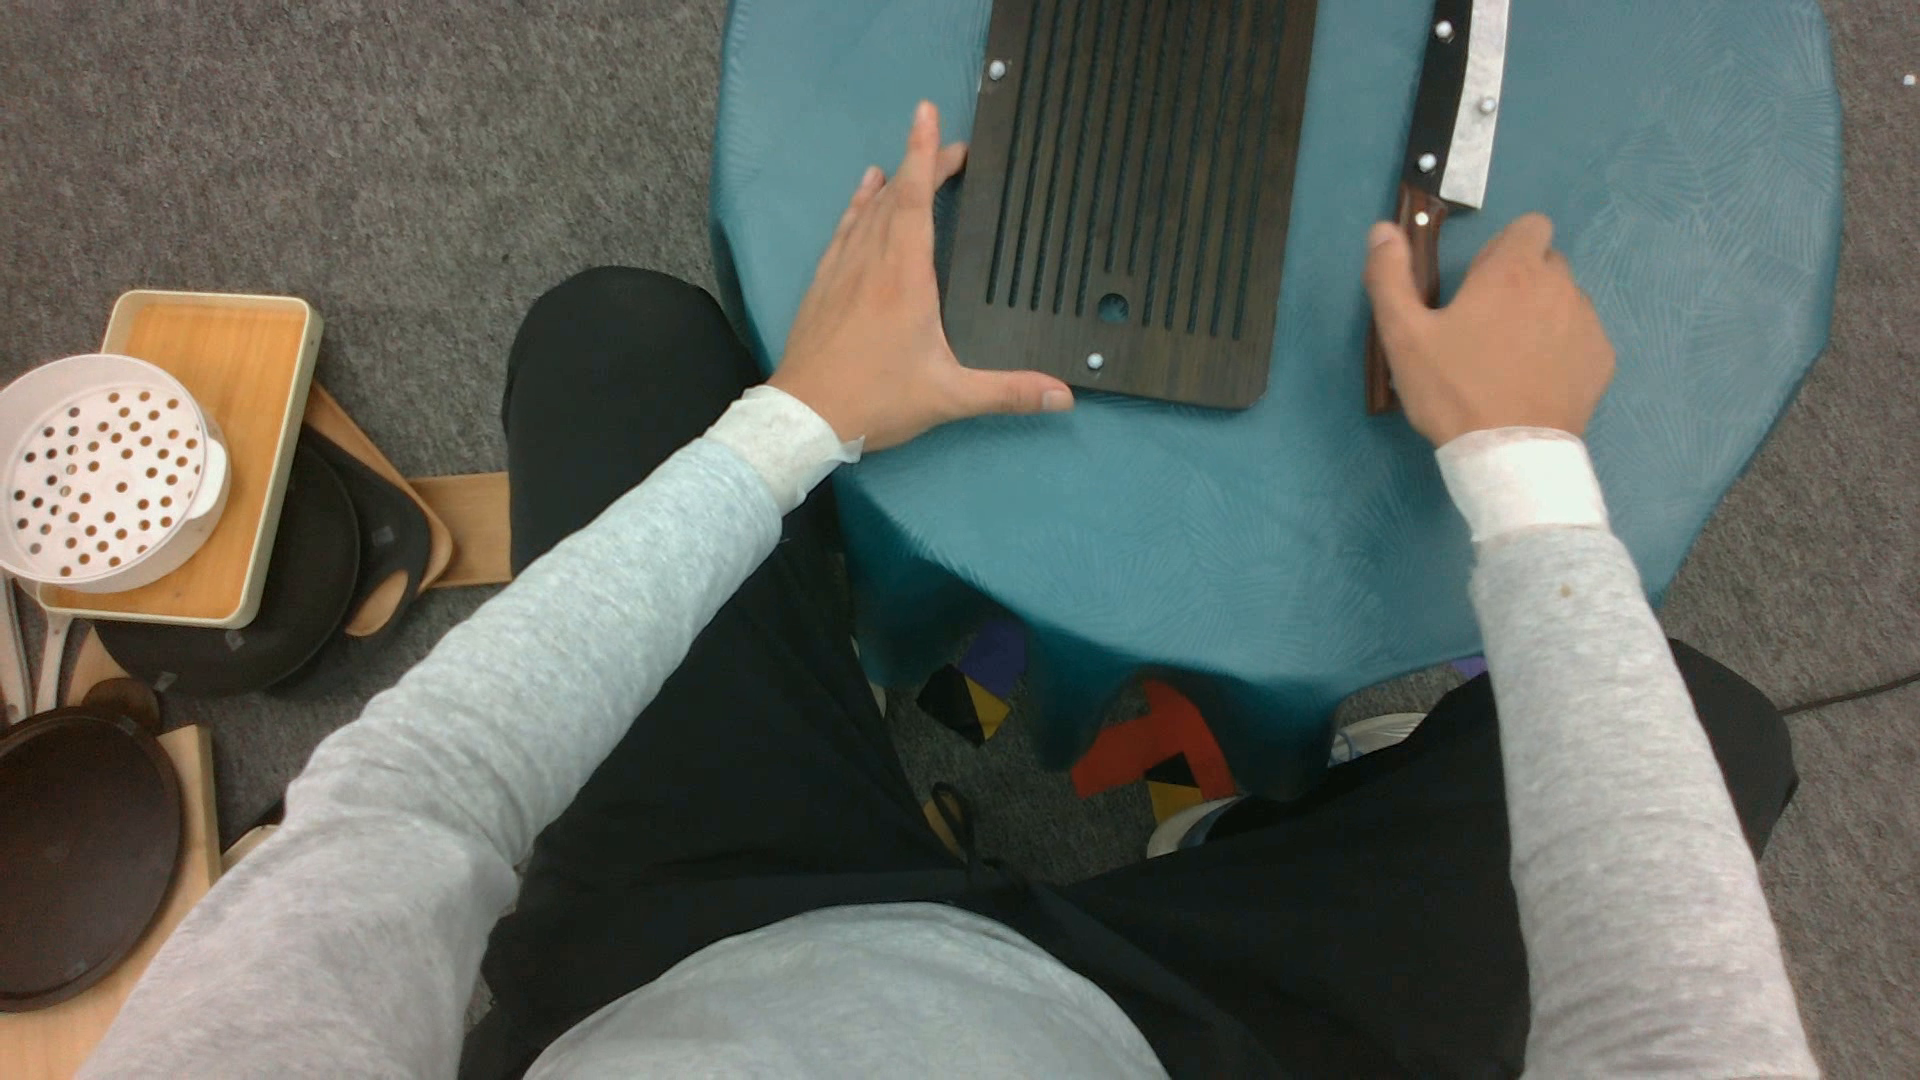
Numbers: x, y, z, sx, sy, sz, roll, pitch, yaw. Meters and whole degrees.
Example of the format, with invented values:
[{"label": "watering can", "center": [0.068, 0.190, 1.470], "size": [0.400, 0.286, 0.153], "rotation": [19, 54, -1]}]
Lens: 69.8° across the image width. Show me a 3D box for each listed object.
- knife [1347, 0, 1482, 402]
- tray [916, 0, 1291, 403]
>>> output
[{"label": "knife", "center": [0.243, -0.206, 0.728], "size": [0.050, 0.020, 0.289], "rotation": [16, 78, -3]}, {"label": "tray", "center": [0.082, -0.229, 0.730], "size": [0.170, 0.018, 0.306], "rotation": [9, 81, 1]}]
